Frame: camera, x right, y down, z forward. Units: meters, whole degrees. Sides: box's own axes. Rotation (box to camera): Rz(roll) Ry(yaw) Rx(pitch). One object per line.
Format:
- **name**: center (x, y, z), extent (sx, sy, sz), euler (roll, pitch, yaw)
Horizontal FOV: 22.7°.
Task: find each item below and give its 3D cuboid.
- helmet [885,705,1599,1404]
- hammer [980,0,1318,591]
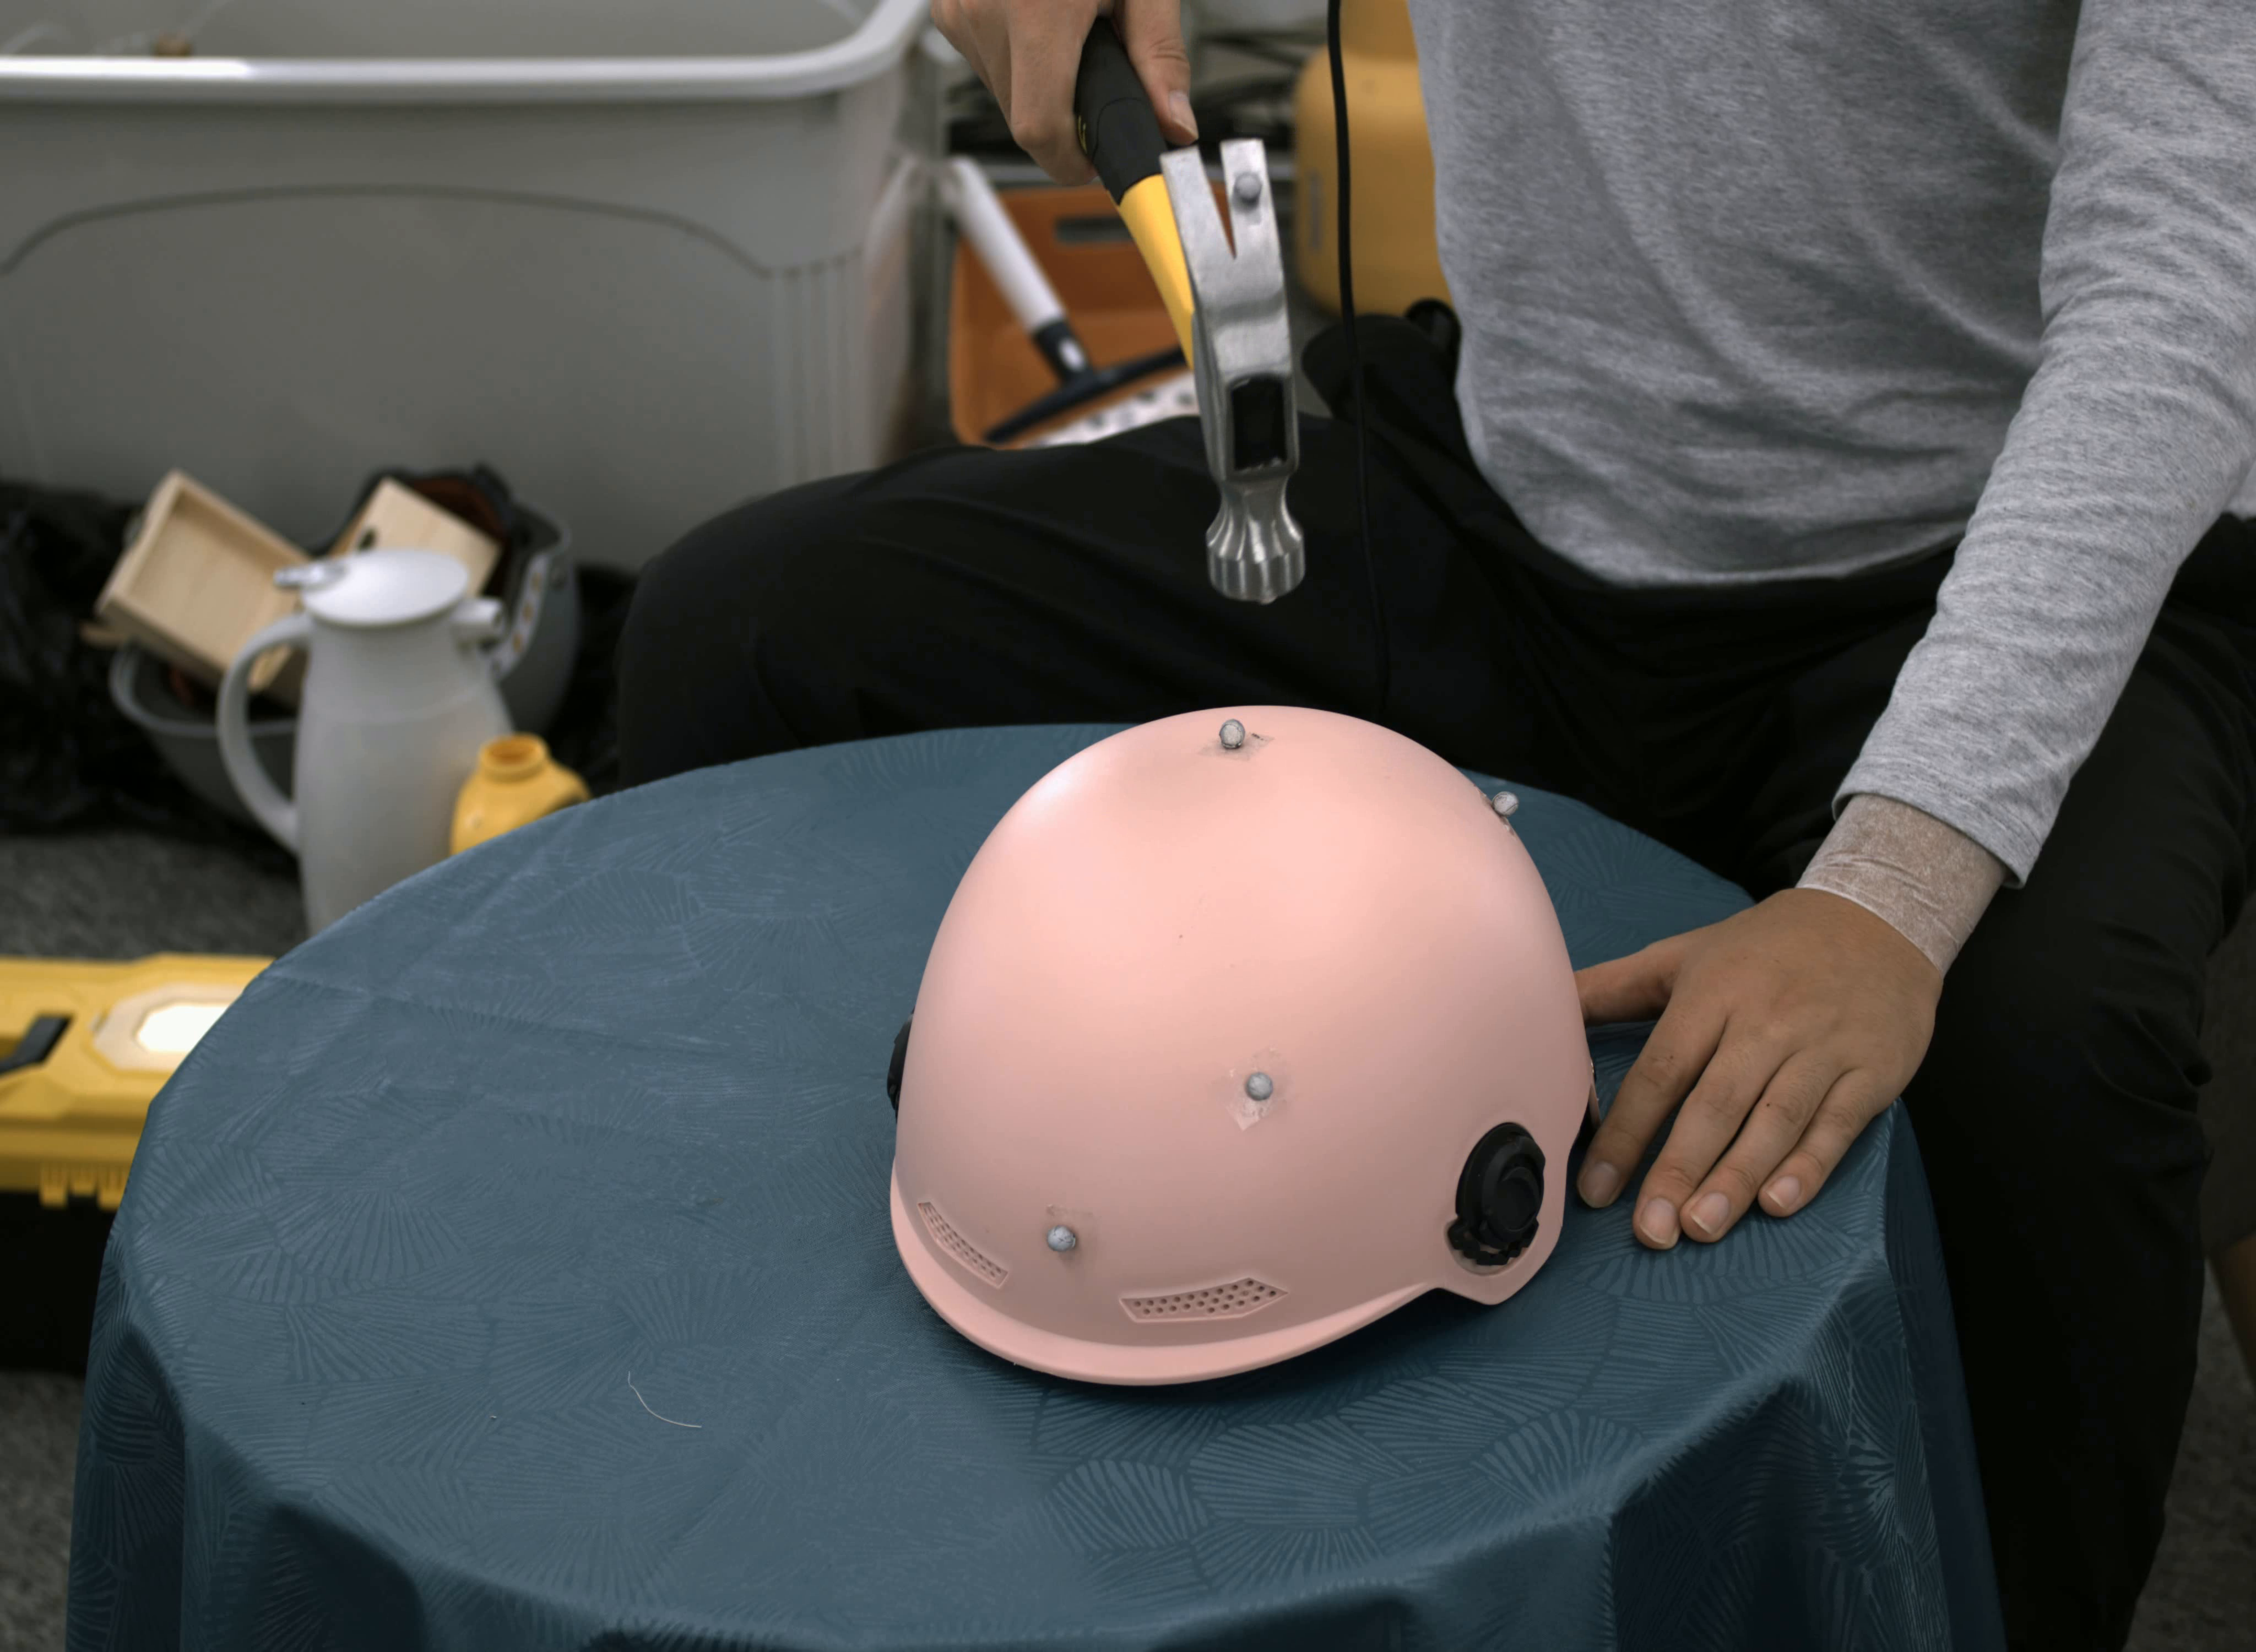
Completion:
- **helmet**: center (0.032, 0.055, 1.828), extent (0.232, 0.157, 0.271), euler (11, 34, 25)
- **hammer**: center (-0.001, -0.217, 1.841), extent (0.032, 0.130, 0.343), euler (-14, 36, -9)
